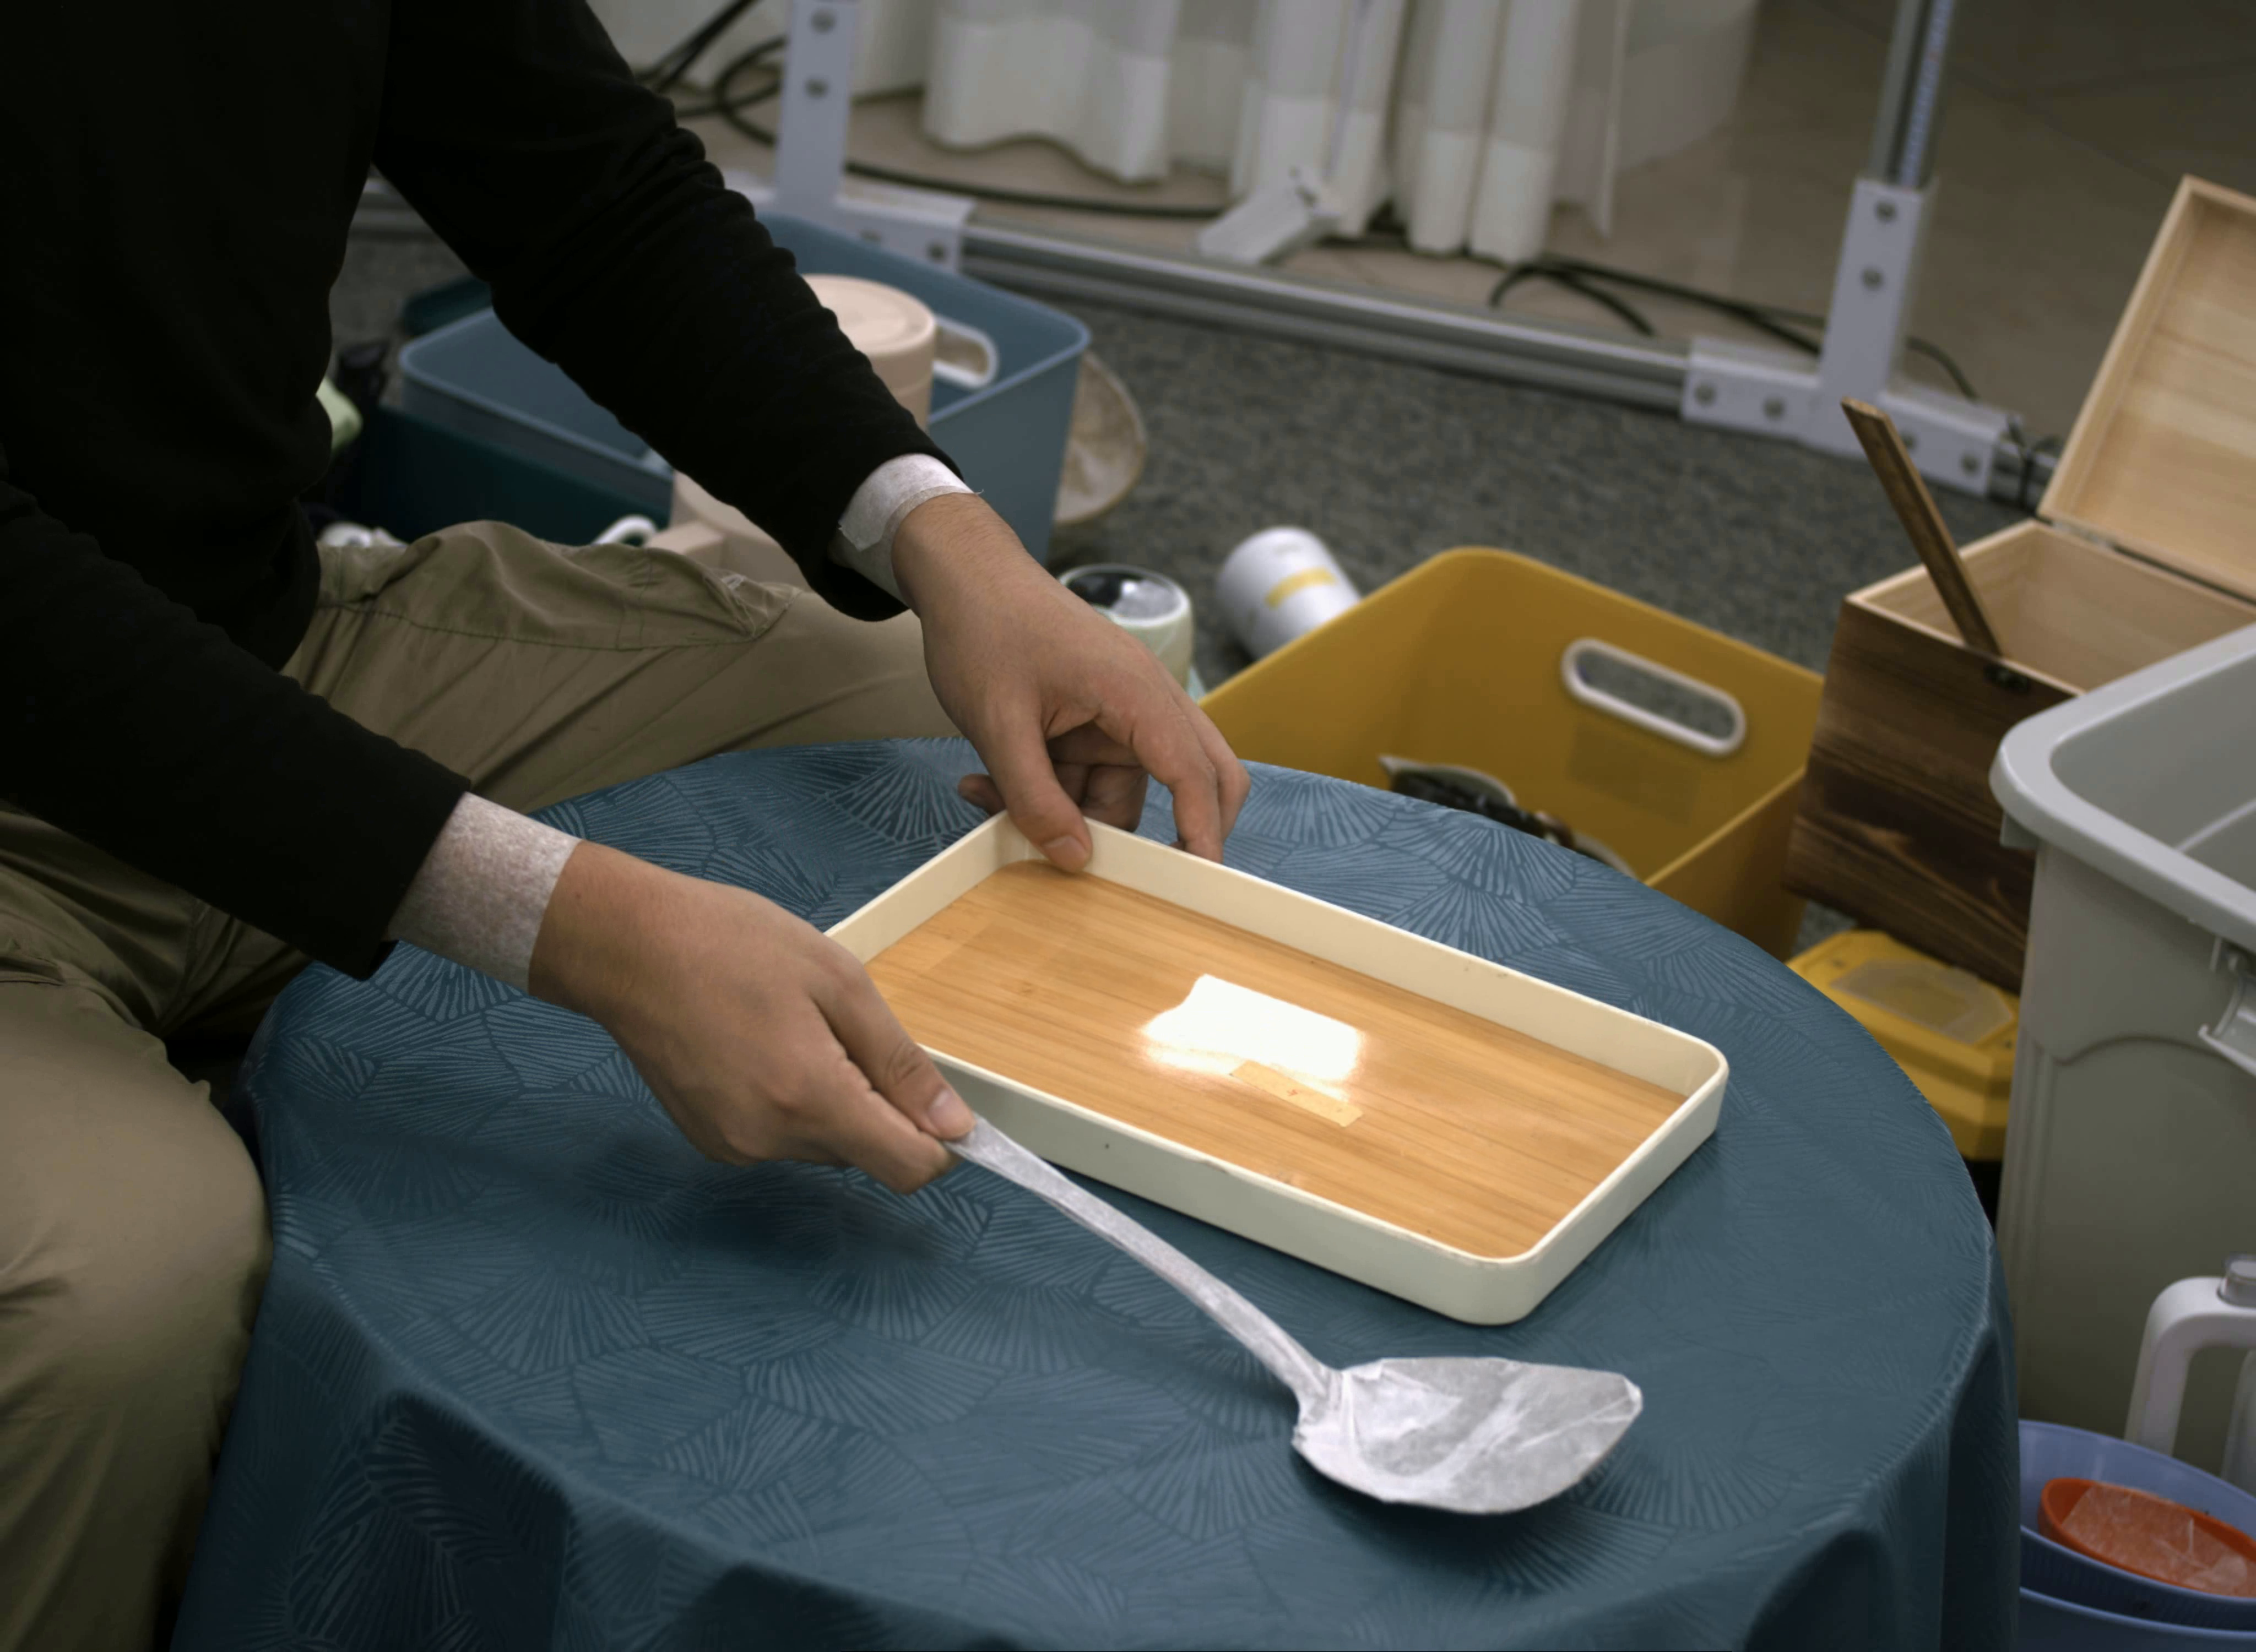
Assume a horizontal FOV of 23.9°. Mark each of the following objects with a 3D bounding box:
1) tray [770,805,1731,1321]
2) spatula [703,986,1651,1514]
[{"bbox_3d":[0.043,0.078,1.870,0.301,0.027,0.191,20,30,25],"label":"tray"},{"bbox_3d":[-0.001,0.127,1.717,0.367,0.044,0.098,31,37,23],"label":"spatula"}]
